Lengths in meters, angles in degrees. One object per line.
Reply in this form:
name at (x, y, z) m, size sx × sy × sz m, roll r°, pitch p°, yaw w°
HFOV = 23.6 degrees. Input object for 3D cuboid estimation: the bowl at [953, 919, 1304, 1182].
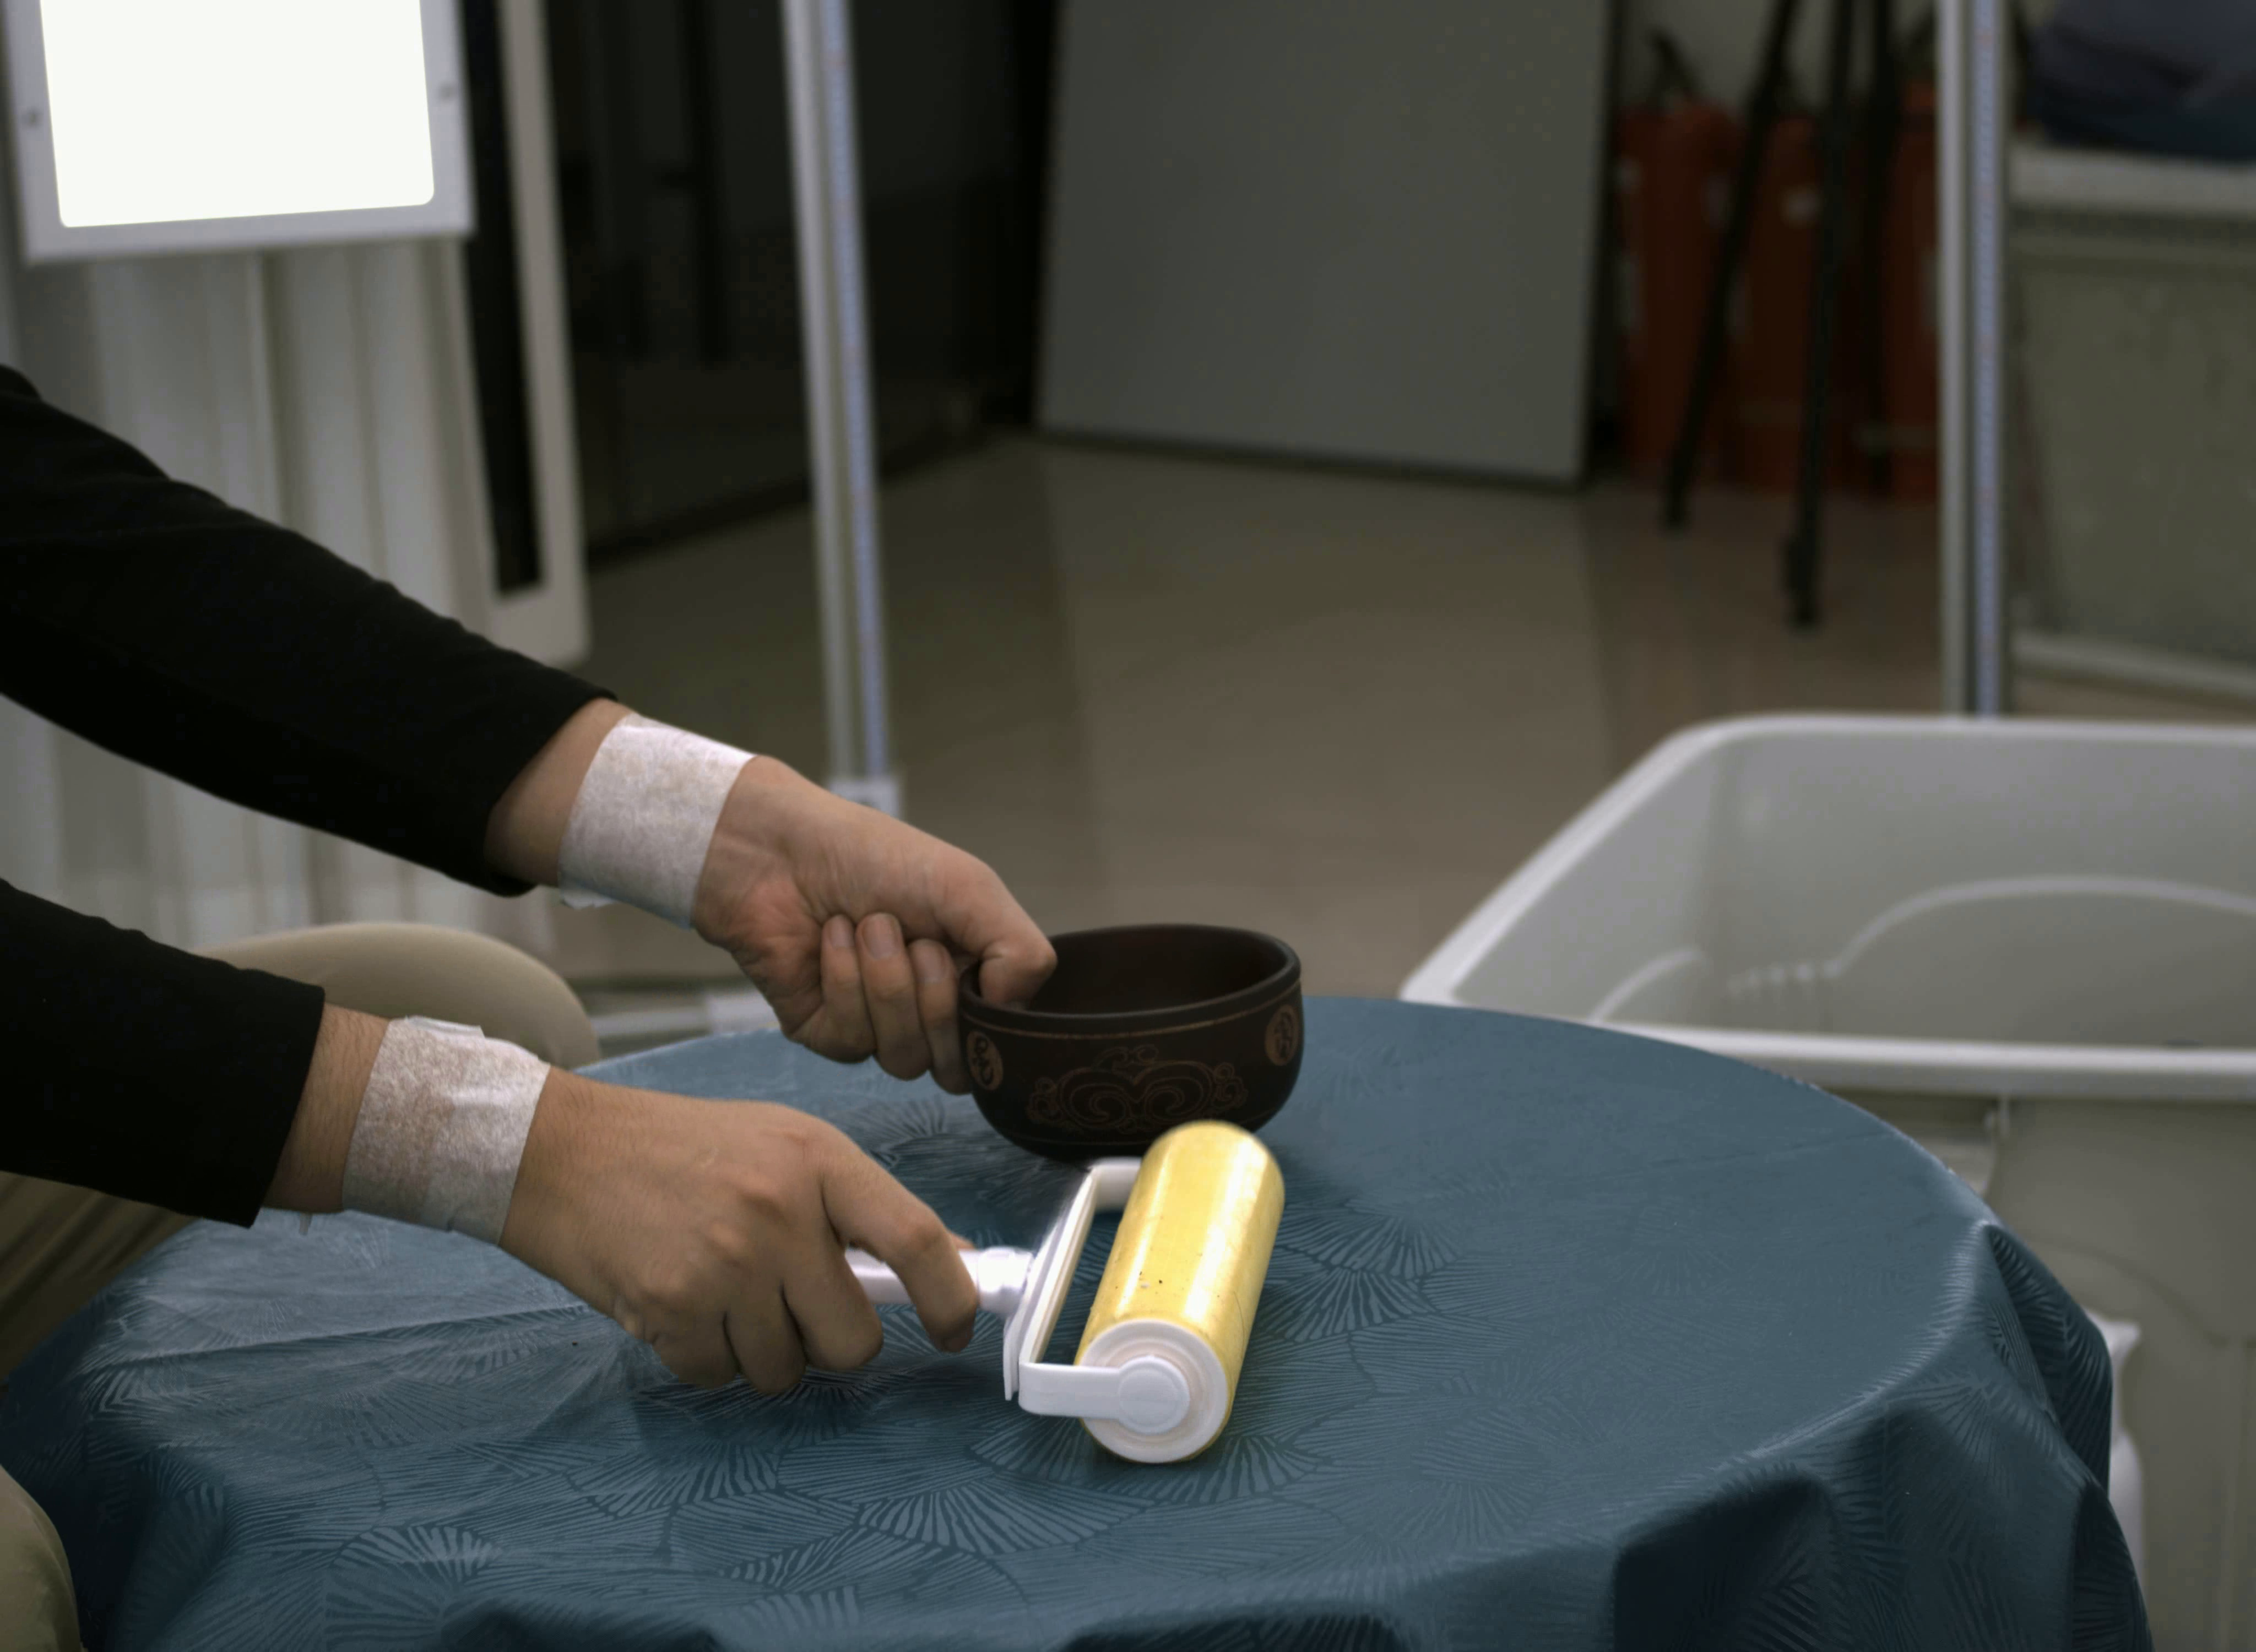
bowl at (0.001, 0.078, 1.785) m, size 0.116 × 0.070 × 0.118 m, roll -4°, pitch 12°, yaw 0°

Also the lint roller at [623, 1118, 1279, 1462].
lint roller at (-0.054, 0.124, 1.597) m, size 0.190 × 0.052 × 0.174 m, roll 10°, pitch 18°, yaw 3°
